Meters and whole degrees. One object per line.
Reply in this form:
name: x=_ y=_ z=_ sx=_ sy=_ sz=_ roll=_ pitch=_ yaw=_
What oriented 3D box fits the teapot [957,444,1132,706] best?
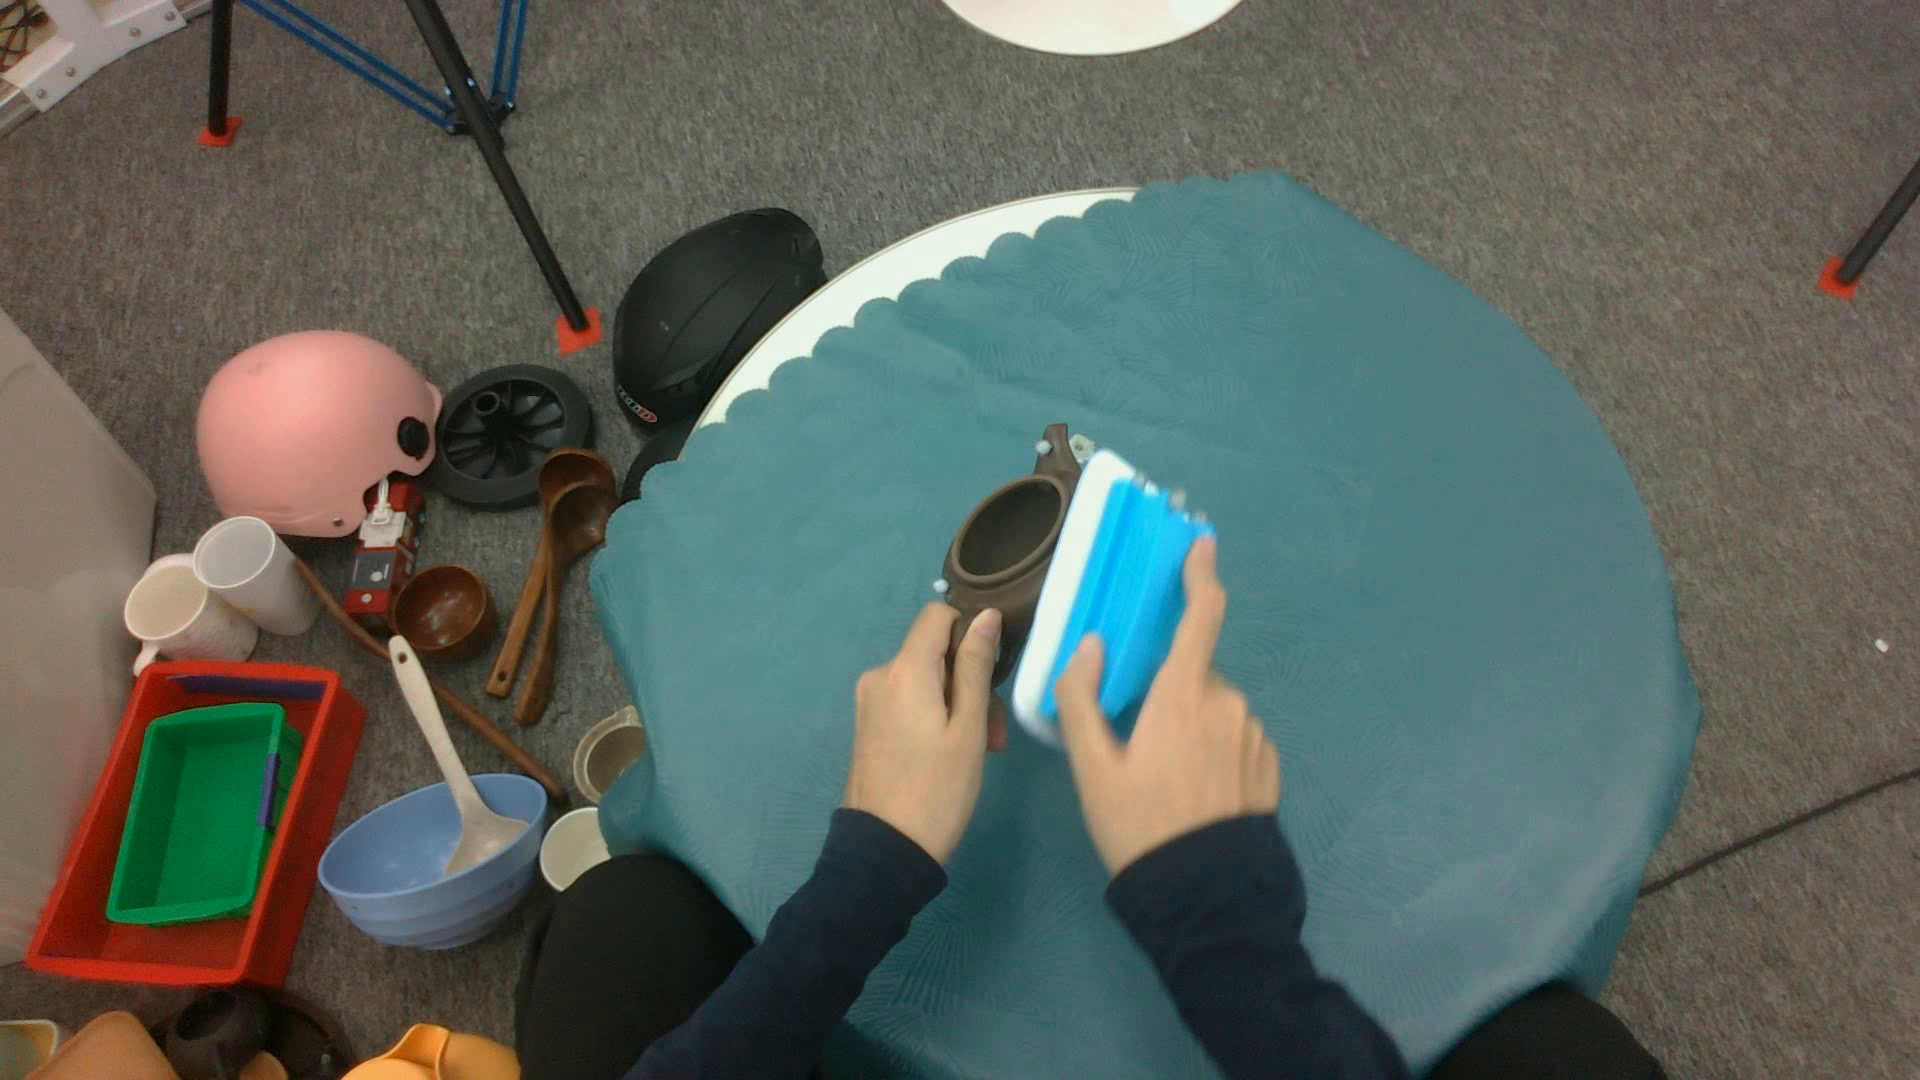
teapot: x=0.043 y=0.020 z=0.716 sx=0.102 sy=0.054 sz=0.154 roll=-11 pitch=42 yaw=40

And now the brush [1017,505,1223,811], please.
brush: x=0.088 y=0.056 z=0.672 sx=0.084 sy=0.056 sz=0.144 roll=33 pitch=68 yaw=-25
